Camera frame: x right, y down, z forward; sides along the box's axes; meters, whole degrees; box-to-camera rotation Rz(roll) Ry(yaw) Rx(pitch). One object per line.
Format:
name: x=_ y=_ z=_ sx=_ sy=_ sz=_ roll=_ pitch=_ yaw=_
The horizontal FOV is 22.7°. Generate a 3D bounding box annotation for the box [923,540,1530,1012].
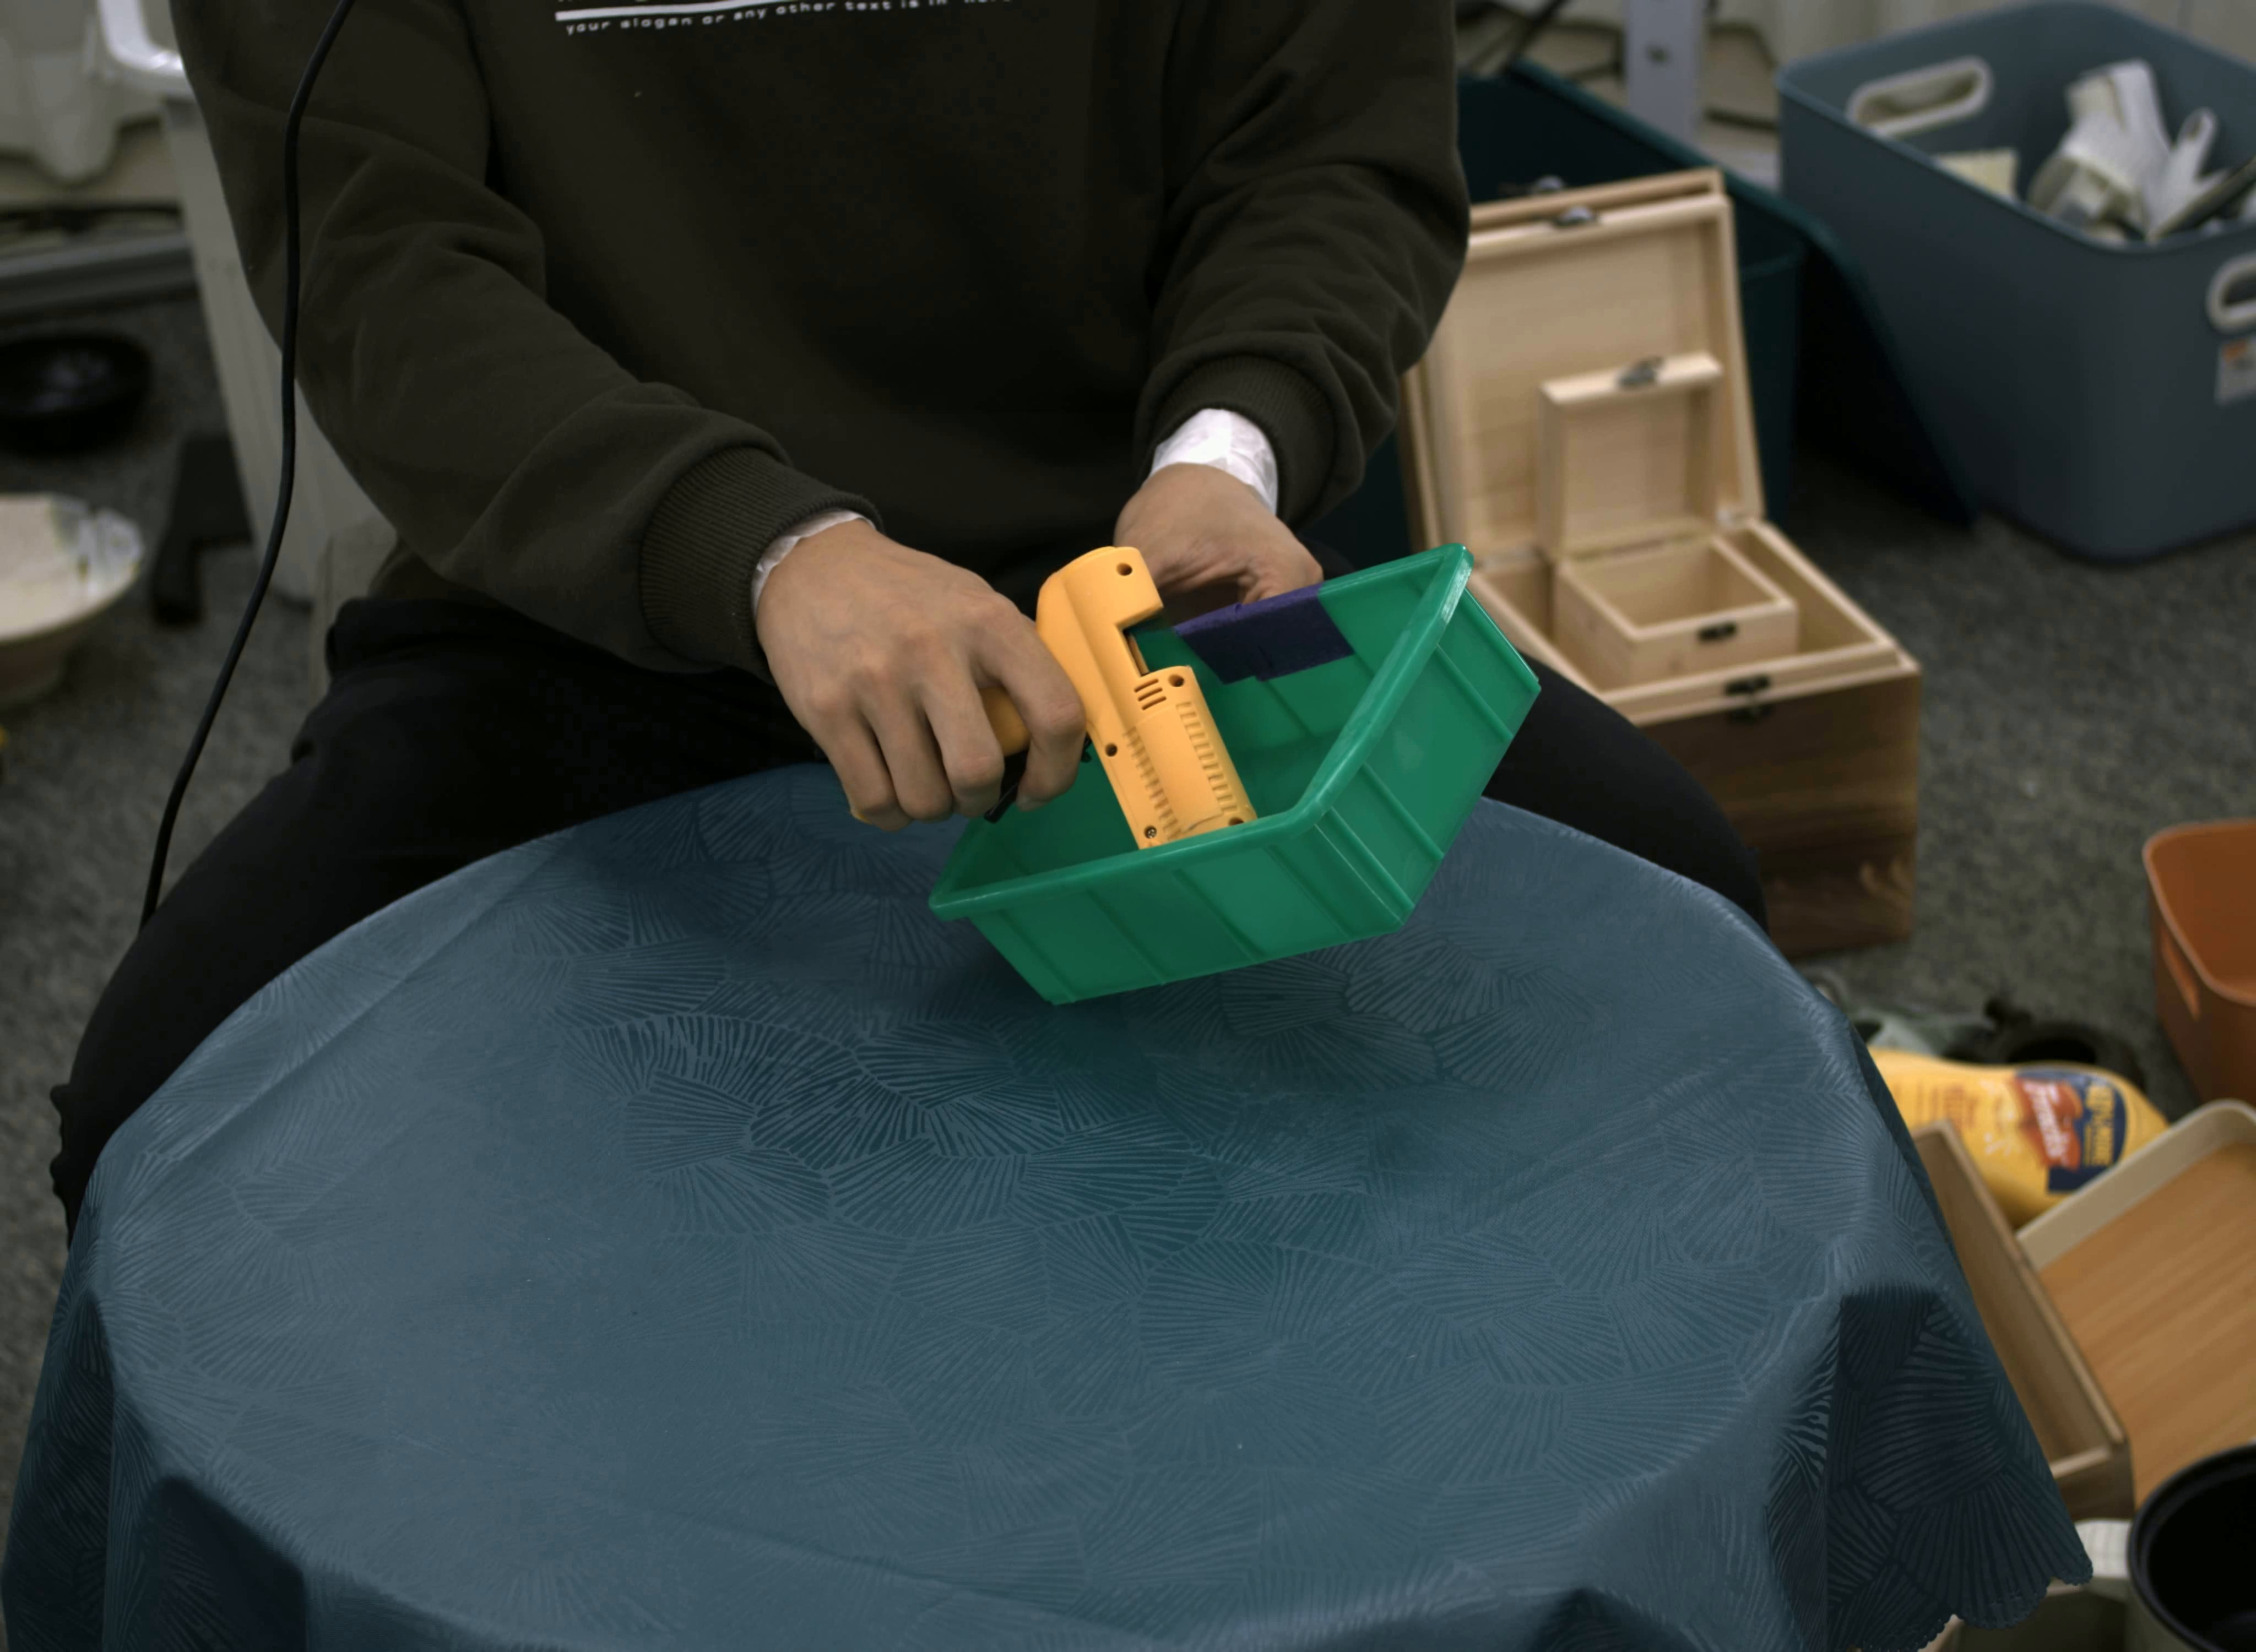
box: x=0.037 y=-0.012 z=1.942 sx=0.207 sy=0.065 sz=0.141 roll=-18 pitch=29 yaw=46

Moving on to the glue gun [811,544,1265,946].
glue gun: x=-0.022 y=-0.004 z=1.925 sx=0.132 sy=0.153 sz=0.031 roll=-30 pitch=-18 yaw=5
